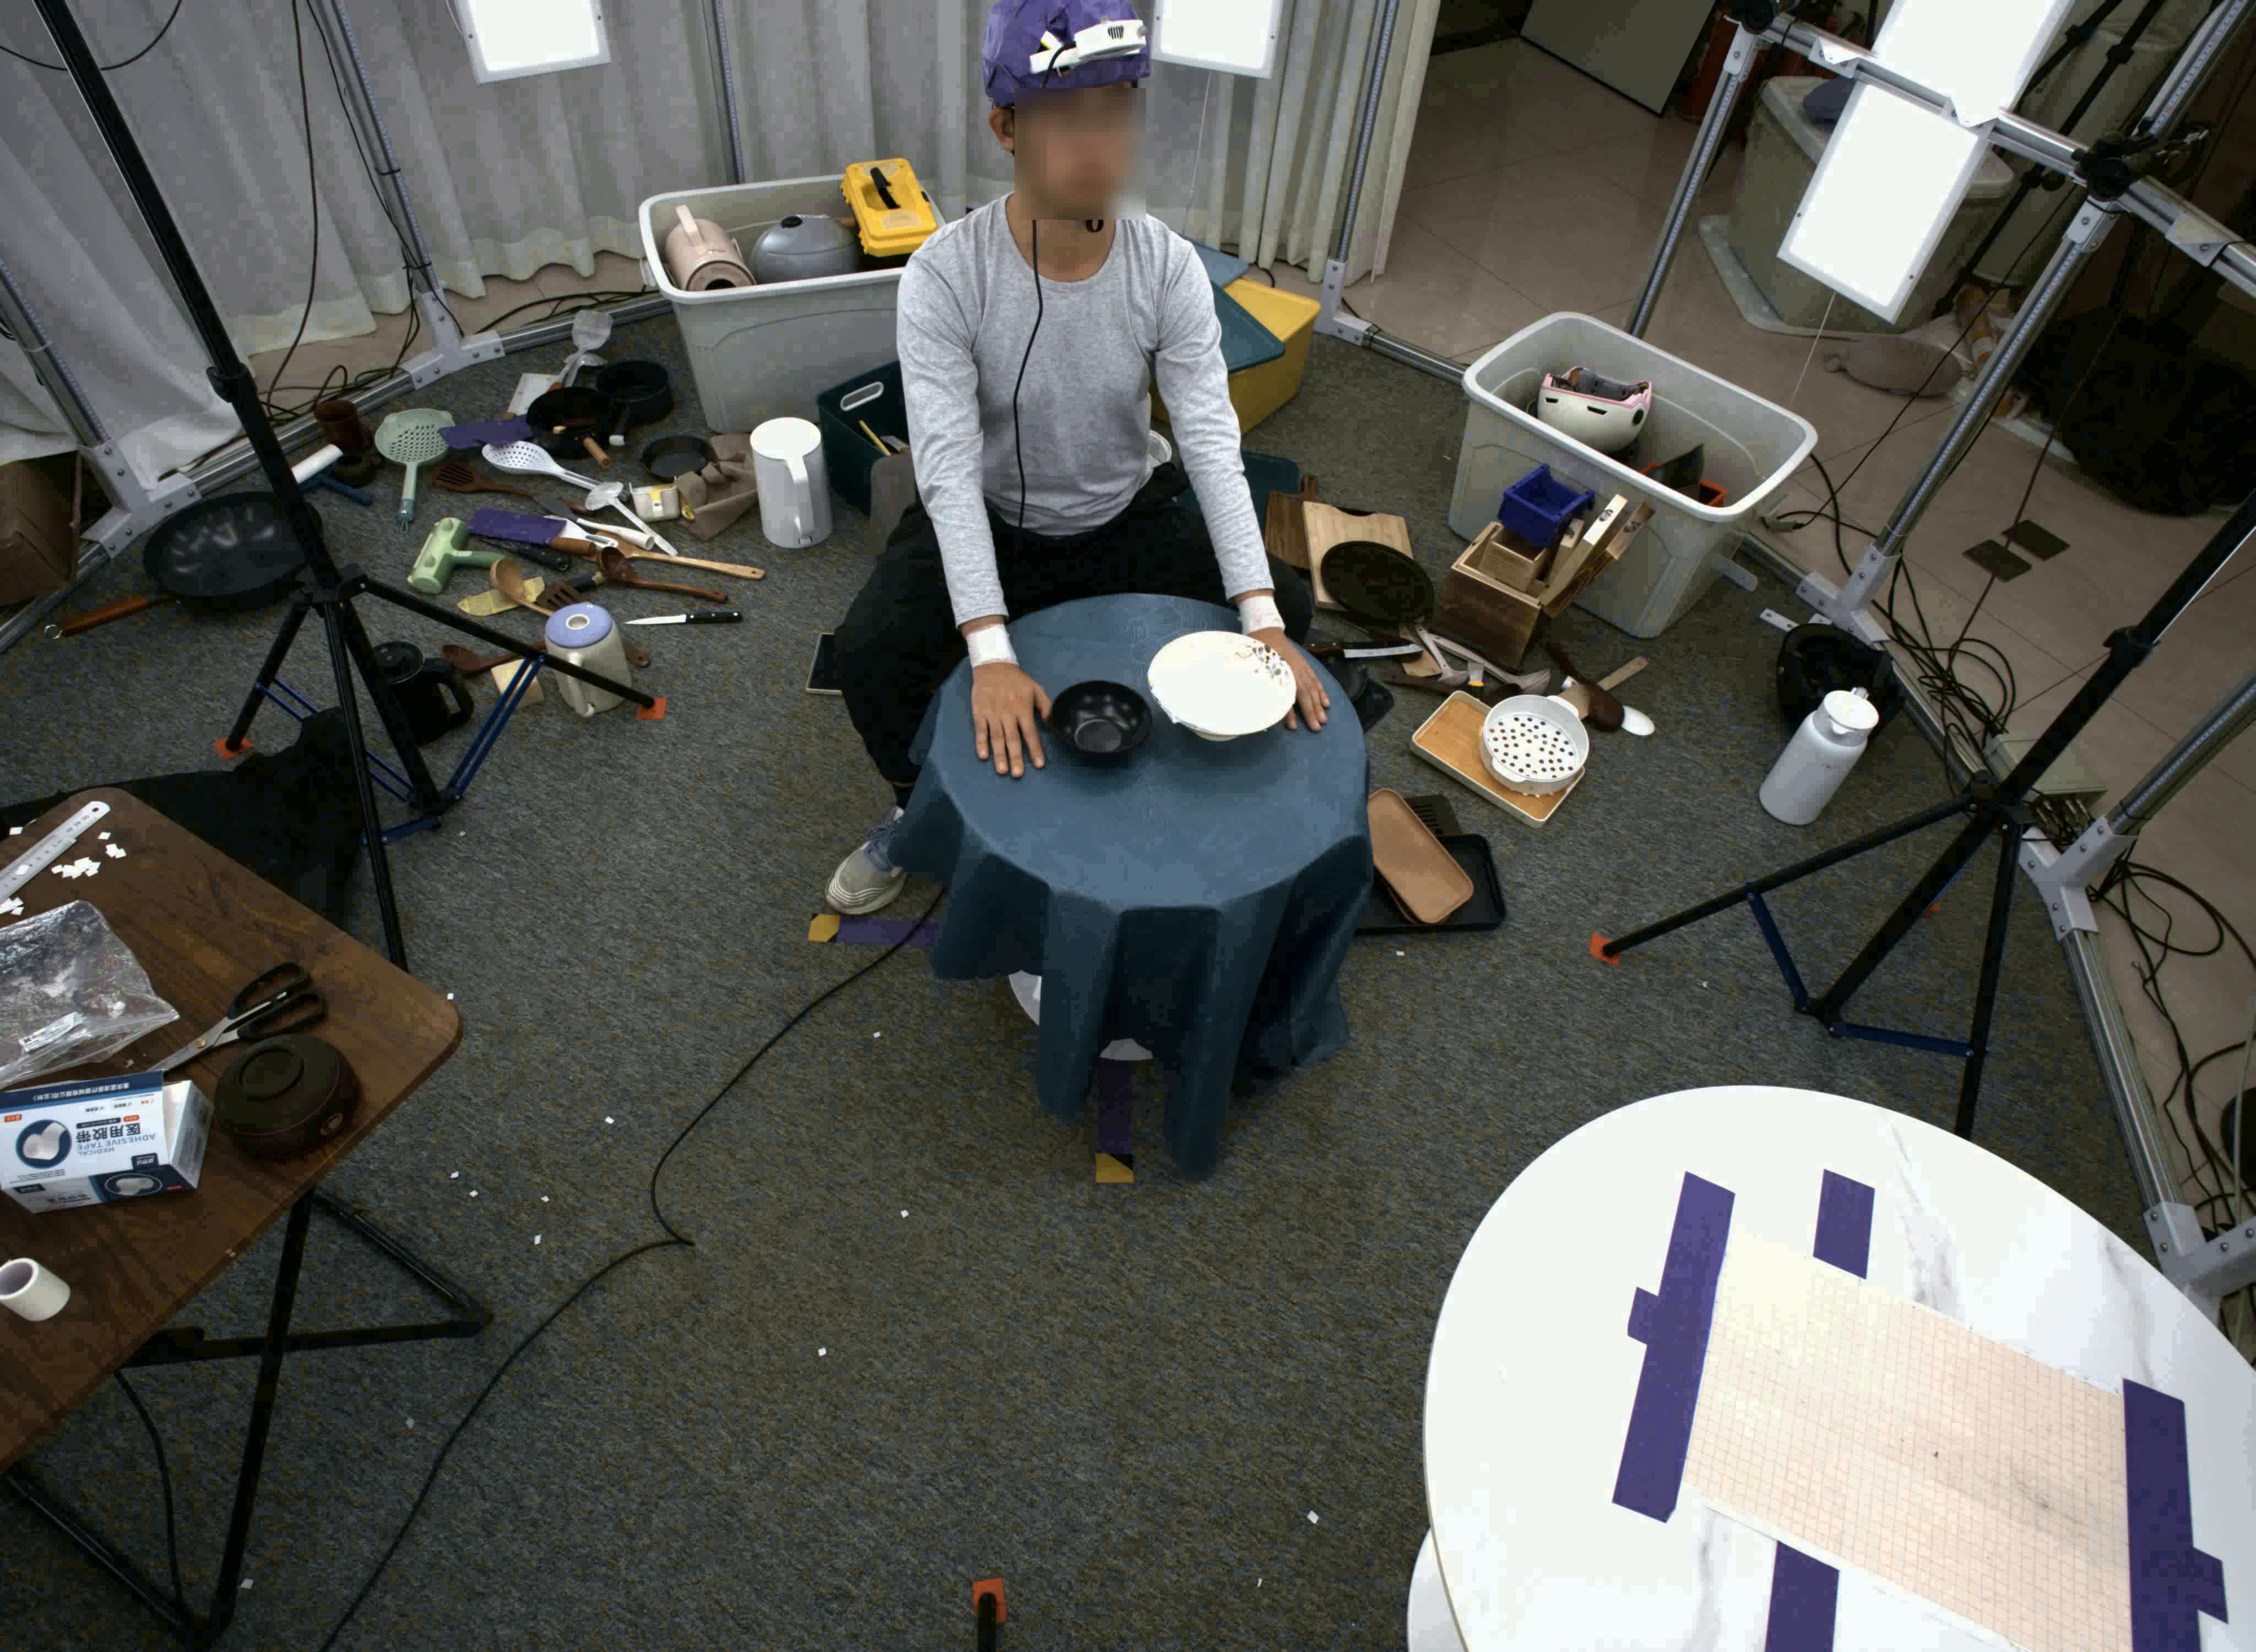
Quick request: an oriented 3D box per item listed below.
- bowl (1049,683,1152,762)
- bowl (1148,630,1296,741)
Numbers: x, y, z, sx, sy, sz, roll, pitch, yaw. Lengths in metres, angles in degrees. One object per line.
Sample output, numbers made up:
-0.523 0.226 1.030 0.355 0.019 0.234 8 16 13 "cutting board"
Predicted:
-0.038 -0.133 1.751 0.140 0.048 0.143 3 46 -3 "bowl"
0.126 -0.175 1.776 0.204 0.076 0.209 2 49 -3 "bowl"
